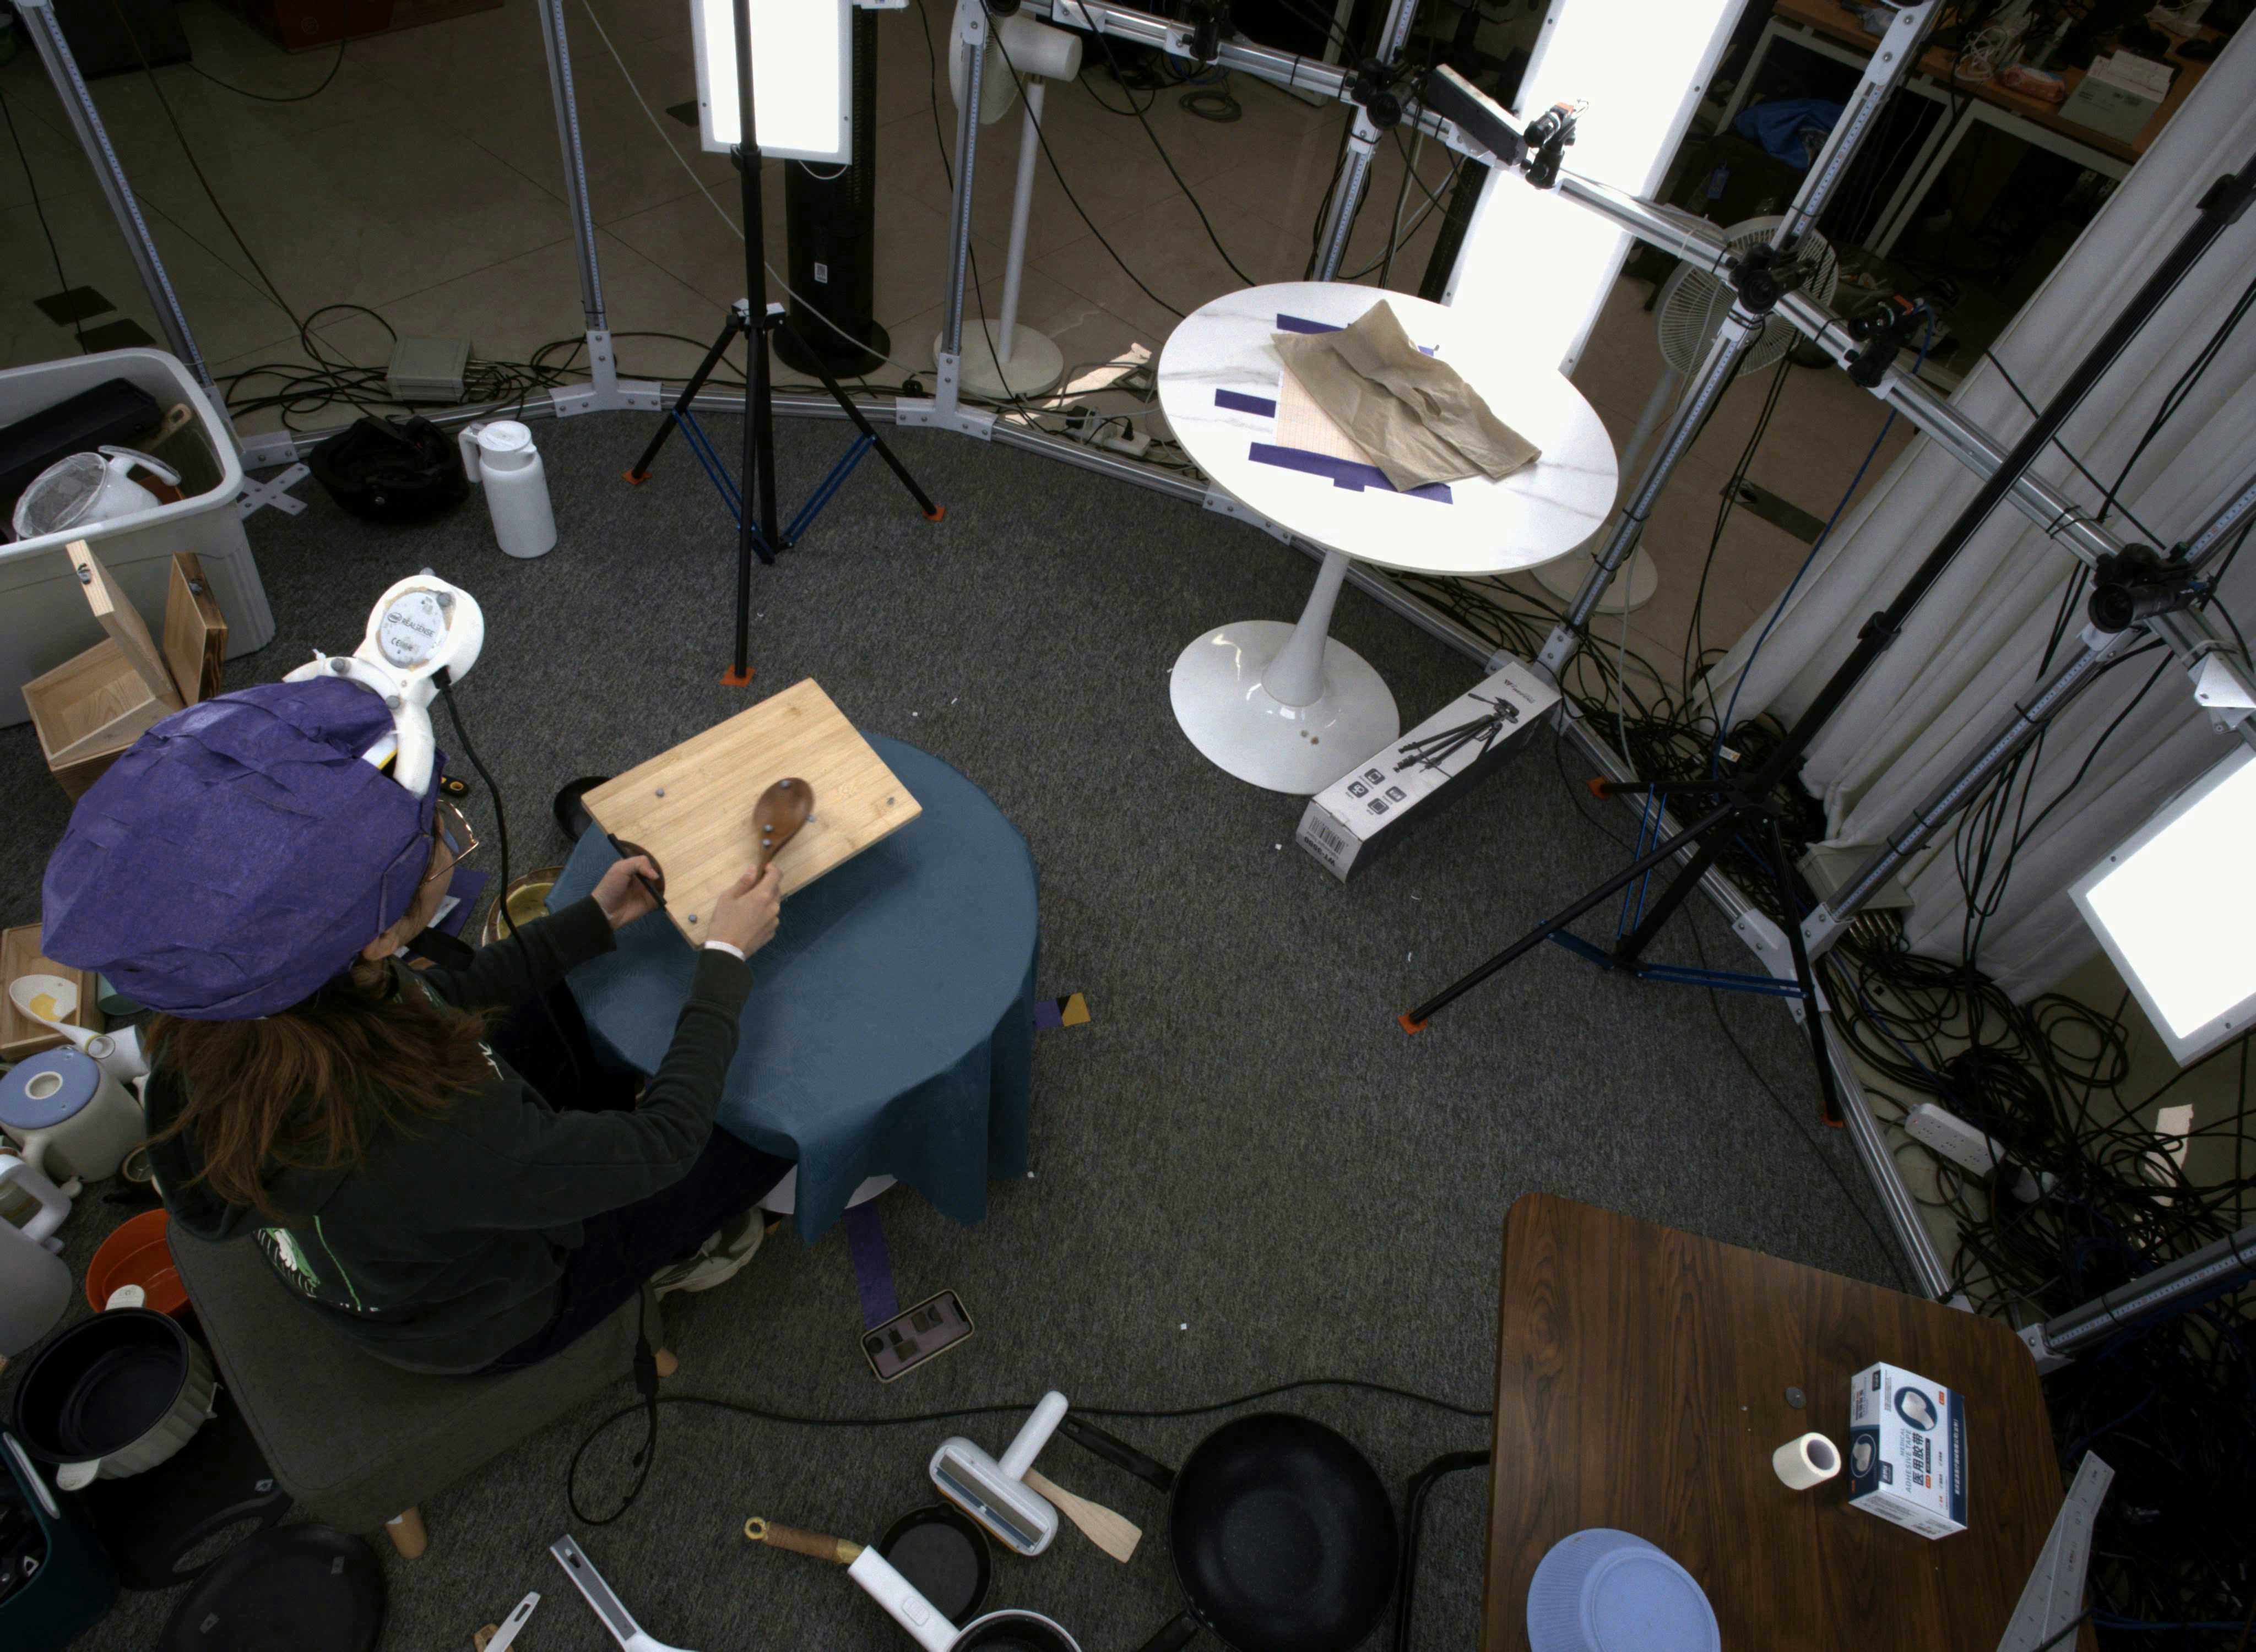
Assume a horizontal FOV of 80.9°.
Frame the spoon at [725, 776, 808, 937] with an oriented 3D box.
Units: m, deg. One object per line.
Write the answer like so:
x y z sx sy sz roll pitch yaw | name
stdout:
-0.429 0.032 1.514 0.074 0.018 0.213 5 58 11 | spoon

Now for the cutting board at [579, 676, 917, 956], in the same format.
-0.467 -0.024 1.602 0.349 0.024 0.248 -36 80 -34 | cutting board
